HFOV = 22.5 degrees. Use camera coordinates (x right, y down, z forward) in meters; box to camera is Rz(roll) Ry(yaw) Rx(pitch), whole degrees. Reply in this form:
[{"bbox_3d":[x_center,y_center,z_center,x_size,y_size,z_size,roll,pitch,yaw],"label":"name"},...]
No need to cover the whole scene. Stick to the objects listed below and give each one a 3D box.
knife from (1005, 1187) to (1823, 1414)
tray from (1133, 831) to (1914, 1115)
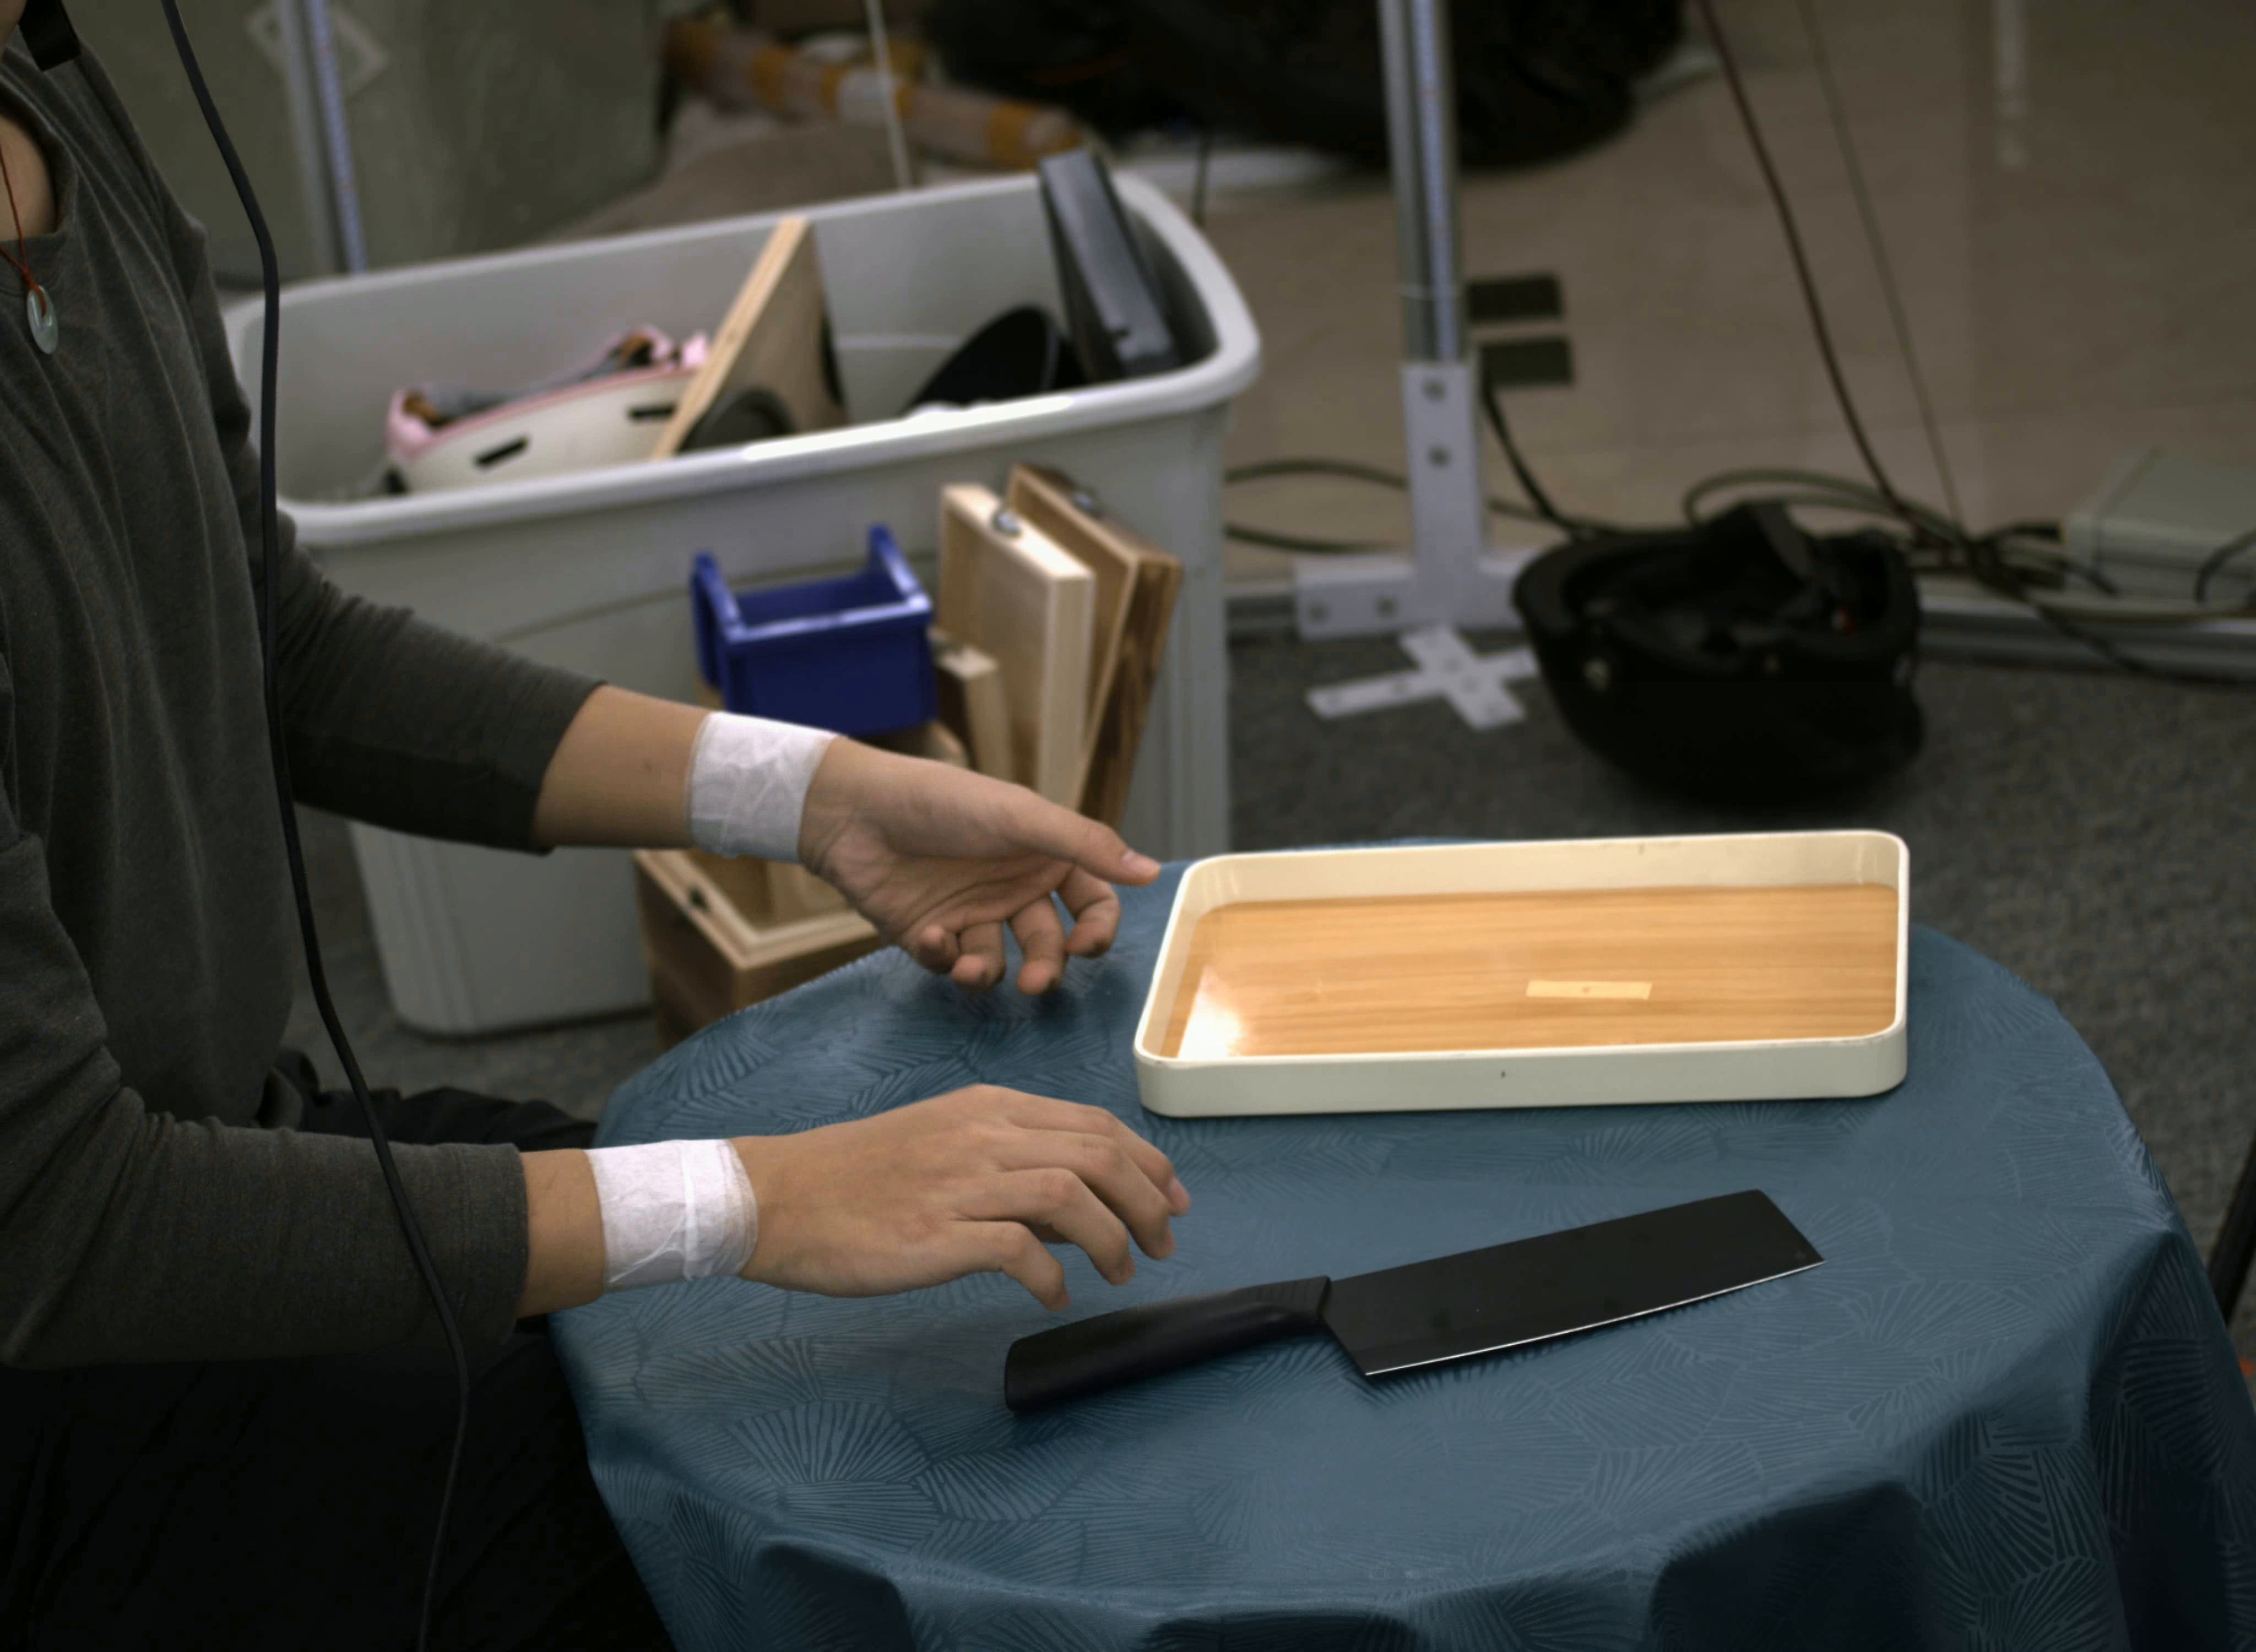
[{"bbox_3d":[0.101,0.173,2.038,0.301,0.021,0.080,-10,26,-11],"label":"knife"},{"bbox_3d":[0.160,0.058,2.255,0.300,0.028,0.189,-2,25,10],"label":"tray"}]
